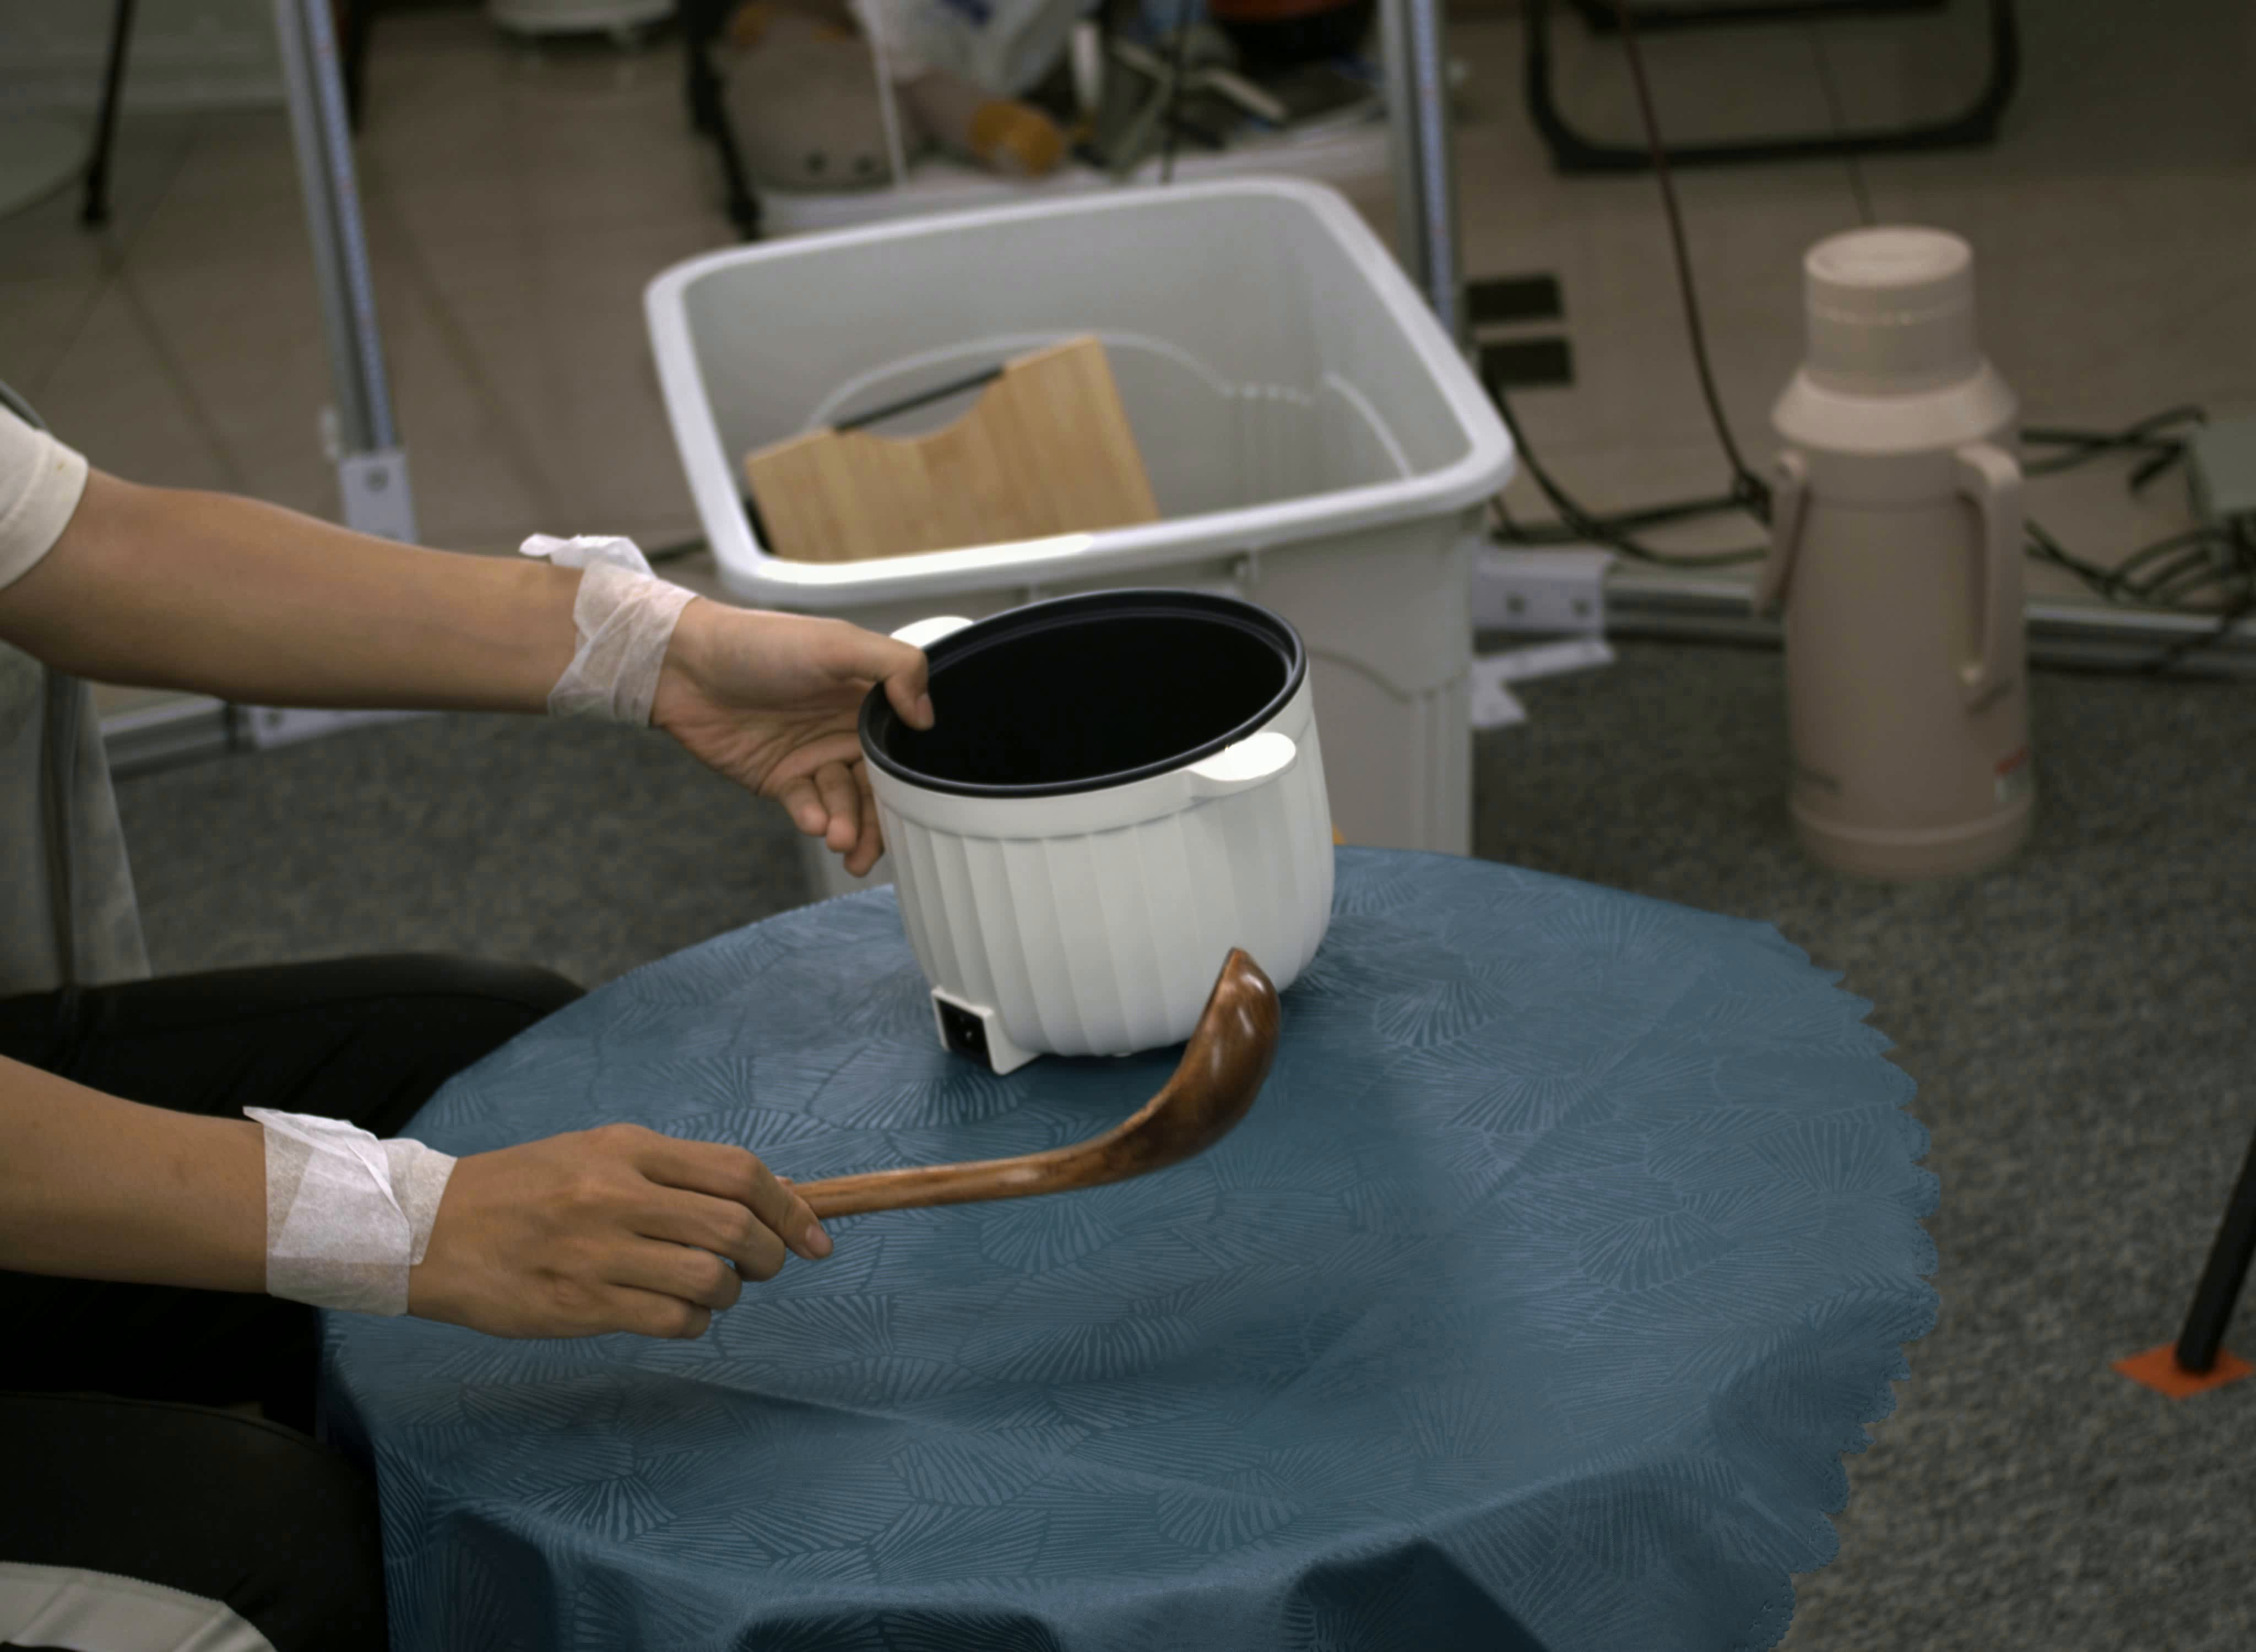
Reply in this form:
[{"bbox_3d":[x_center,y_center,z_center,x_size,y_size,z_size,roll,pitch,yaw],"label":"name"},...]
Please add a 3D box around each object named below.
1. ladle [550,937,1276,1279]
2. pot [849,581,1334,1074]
[{"bbox_3d":[-0.079,0.100,2.029,0.274,0.076,0.082,-11,-3,3],"label":"ladle"},{"bbox_3d":[-0.005,-0.001,2.276,0.189,0.145,0.238,-32,35,-29],"label":"pot"}]
